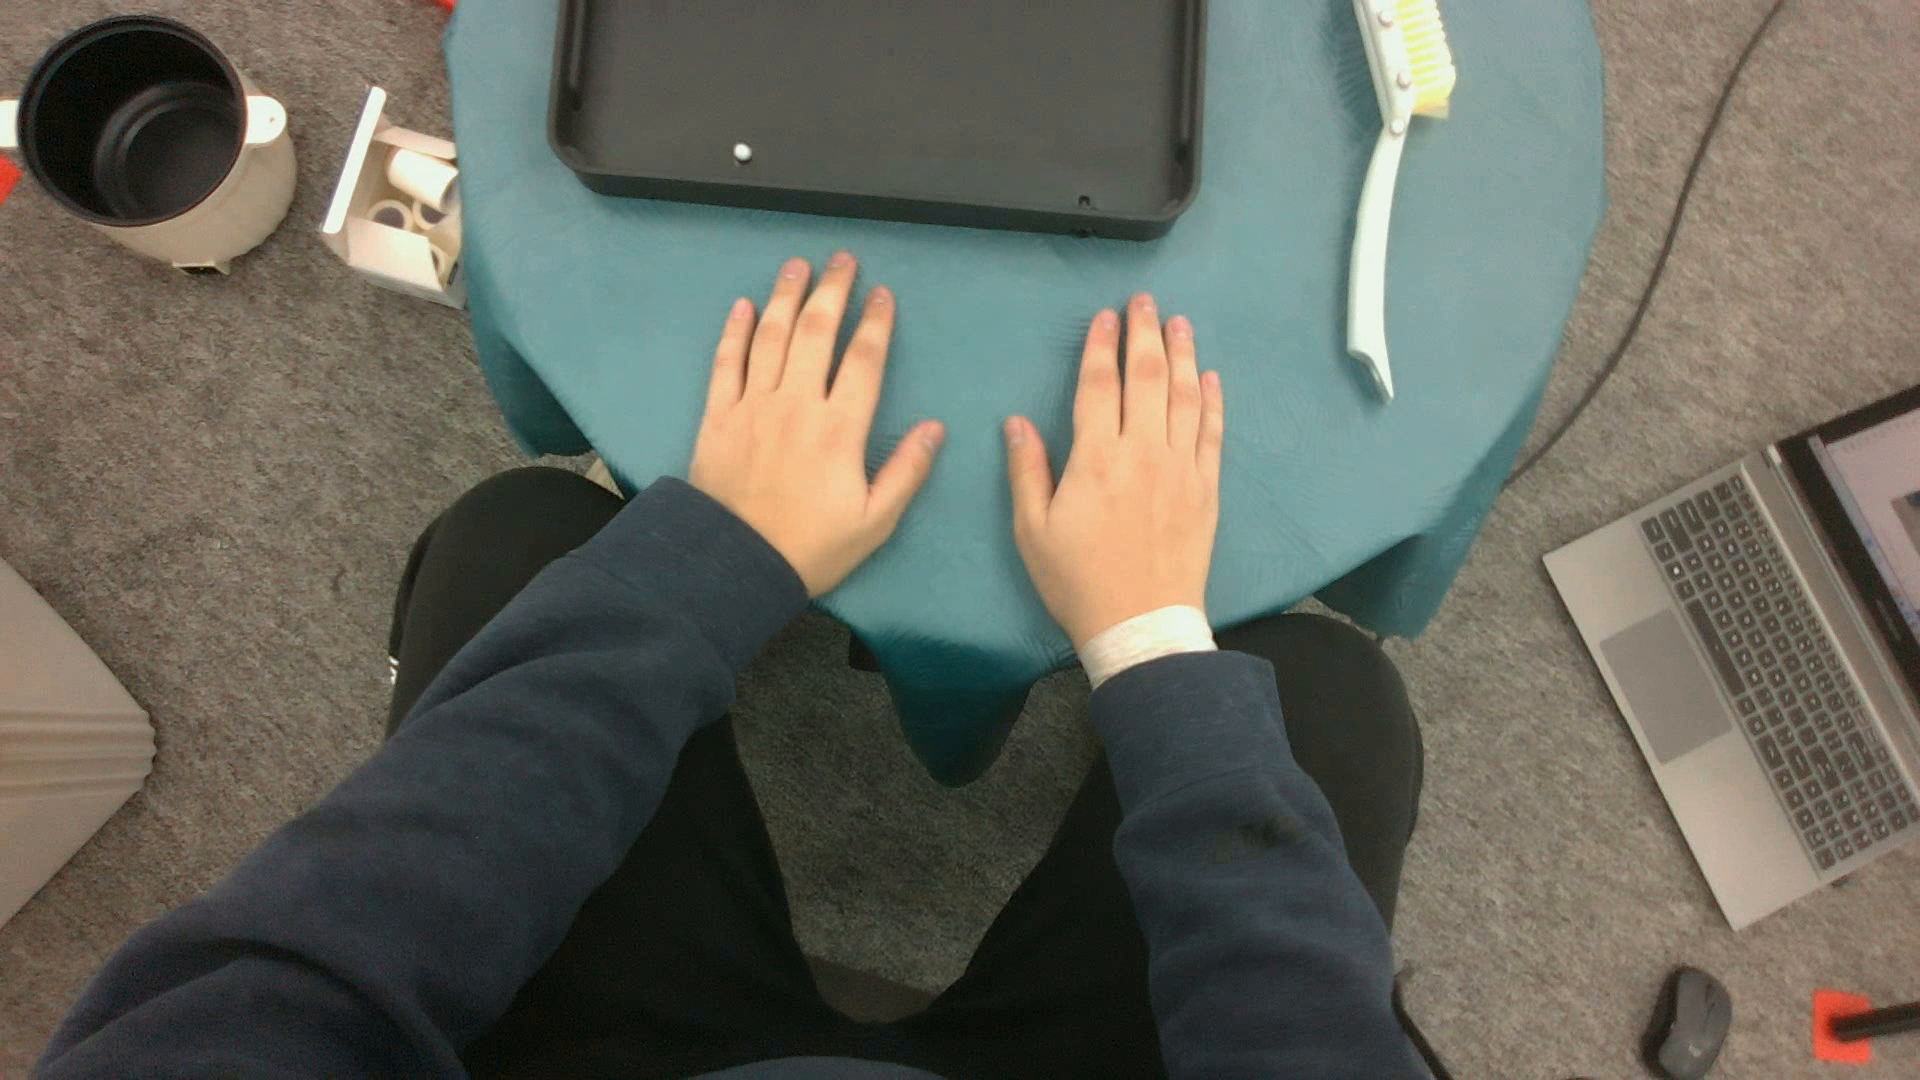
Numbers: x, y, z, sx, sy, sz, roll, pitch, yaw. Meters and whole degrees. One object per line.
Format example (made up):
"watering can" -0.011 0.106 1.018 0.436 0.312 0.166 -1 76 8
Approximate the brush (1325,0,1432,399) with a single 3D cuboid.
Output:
"brush" 0.220 -0.187 0.715 0.049 0.038 0.229 -2 81 9

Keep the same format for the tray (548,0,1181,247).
"tray" -0.048 -0.245 0.717 0.318 0.037 0.184 0 82 -2
